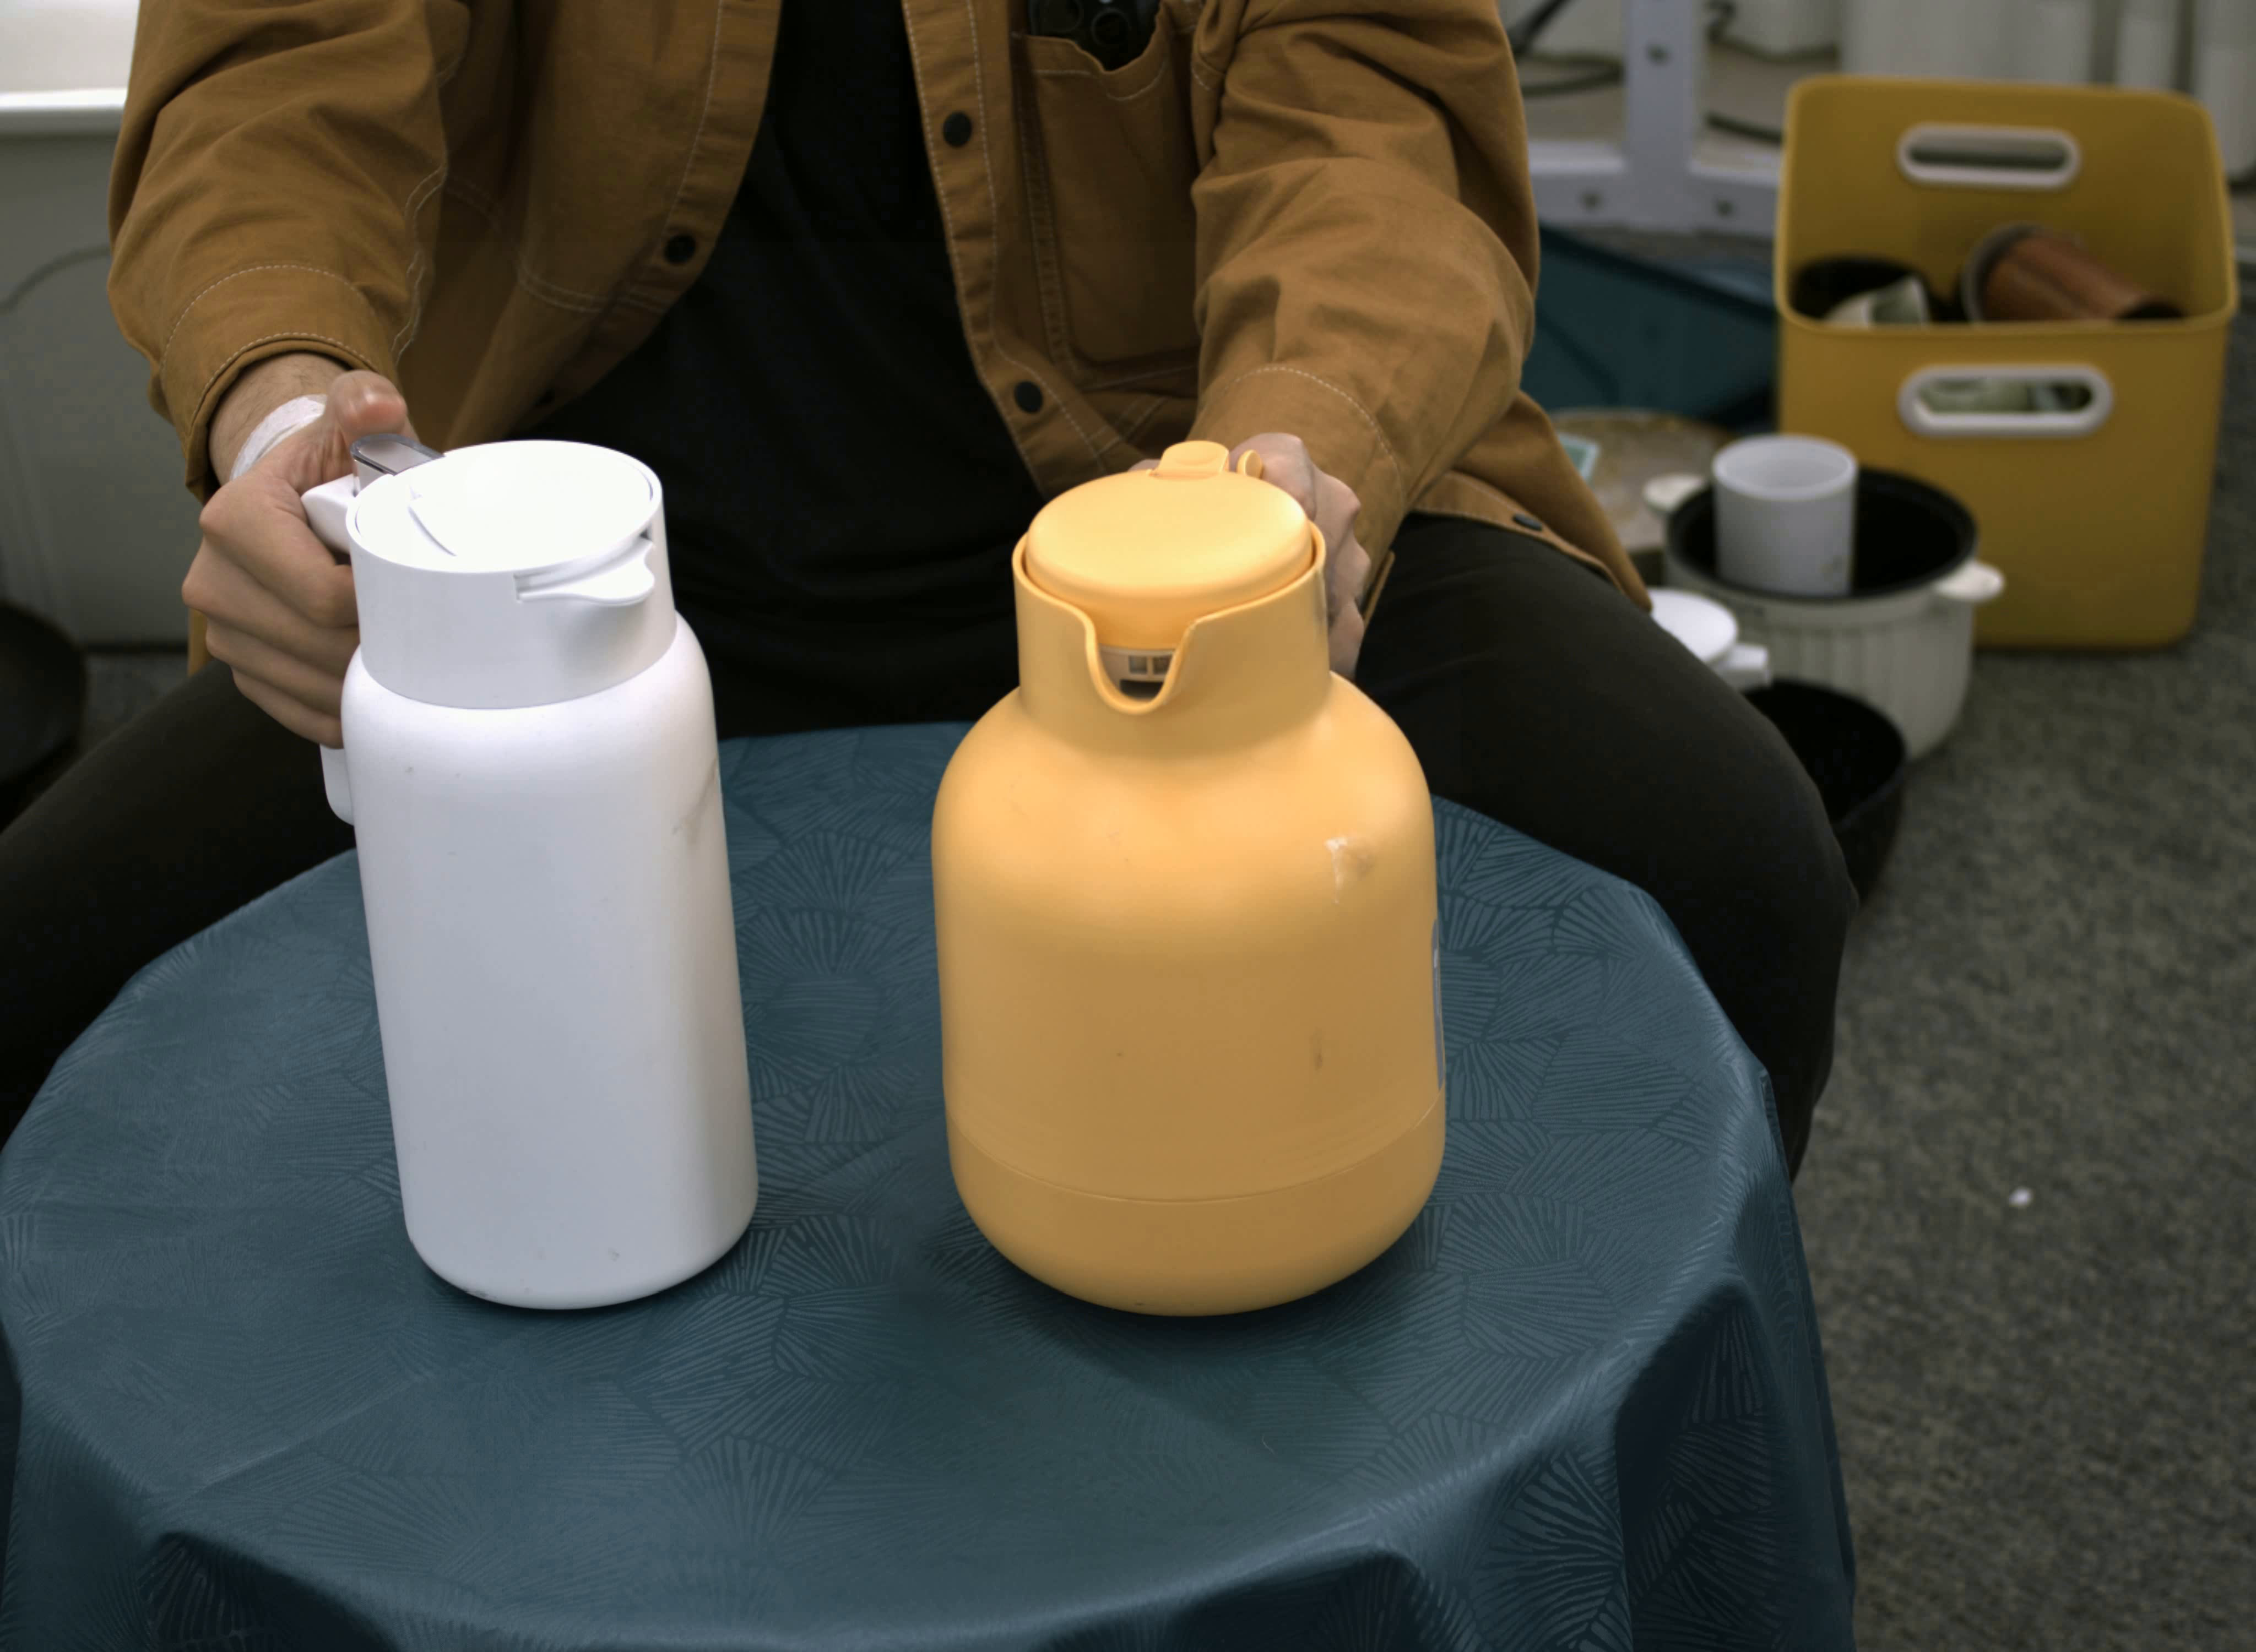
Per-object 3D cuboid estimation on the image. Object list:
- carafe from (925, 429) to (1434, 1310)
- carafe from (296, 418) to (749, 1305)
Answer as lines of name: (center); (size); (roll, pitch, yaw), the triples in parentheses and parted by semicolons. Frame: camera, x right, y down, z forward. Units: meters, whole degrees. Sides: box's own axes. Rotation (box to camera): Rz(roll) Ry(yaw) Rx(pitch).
carafe: (0.021, 0.004, 1.801); (0.162, 0.257, 0.206); (5, 29, 10)
carafe: (-0.200, 0.009, 1.809); (0.125, 0.266, 0.173); (-26, 35, -35)
